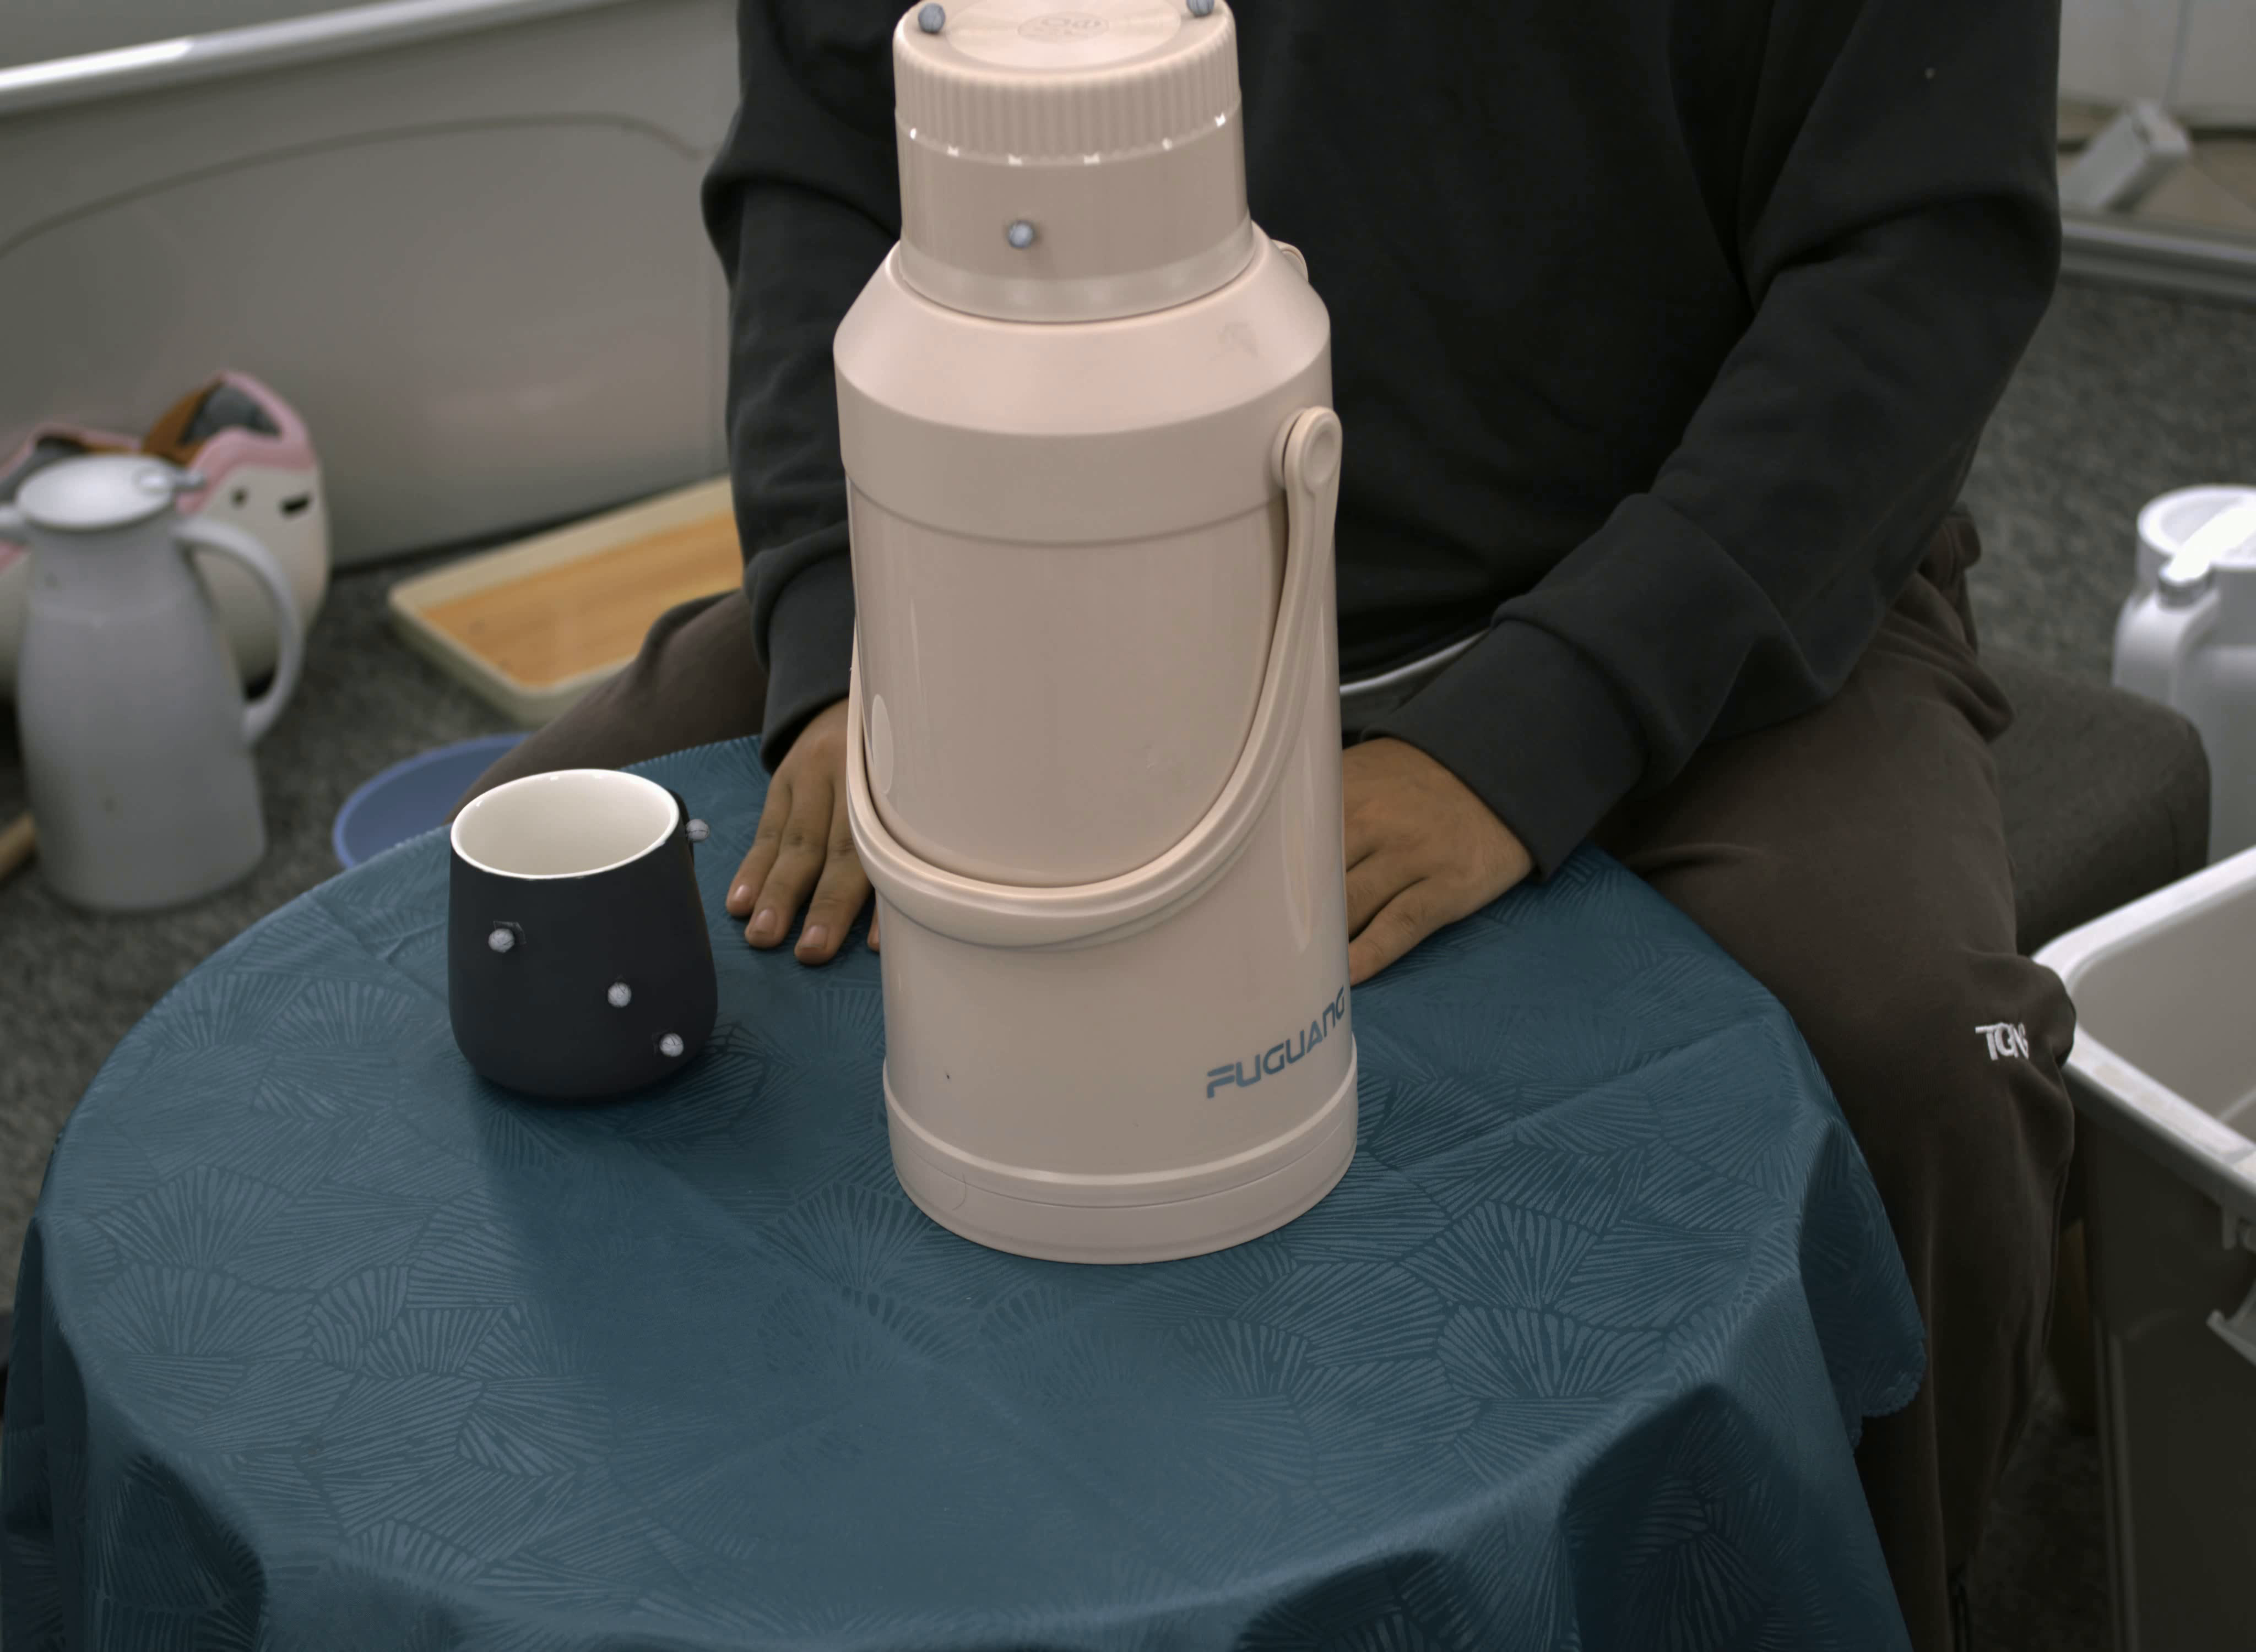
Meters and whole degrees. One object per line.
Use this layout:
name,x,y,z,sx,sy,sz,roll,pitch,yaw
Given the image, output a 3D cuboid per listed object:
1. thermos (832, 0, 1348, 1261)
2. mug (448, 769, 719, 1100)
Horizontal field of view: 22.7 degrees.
thermos,-0.003,-0.075,1.820,0.174,0.402,0.210,13,31,30
mug,-0.184,0.032,1.956,0.093,0.089,0.125,10,30,23
